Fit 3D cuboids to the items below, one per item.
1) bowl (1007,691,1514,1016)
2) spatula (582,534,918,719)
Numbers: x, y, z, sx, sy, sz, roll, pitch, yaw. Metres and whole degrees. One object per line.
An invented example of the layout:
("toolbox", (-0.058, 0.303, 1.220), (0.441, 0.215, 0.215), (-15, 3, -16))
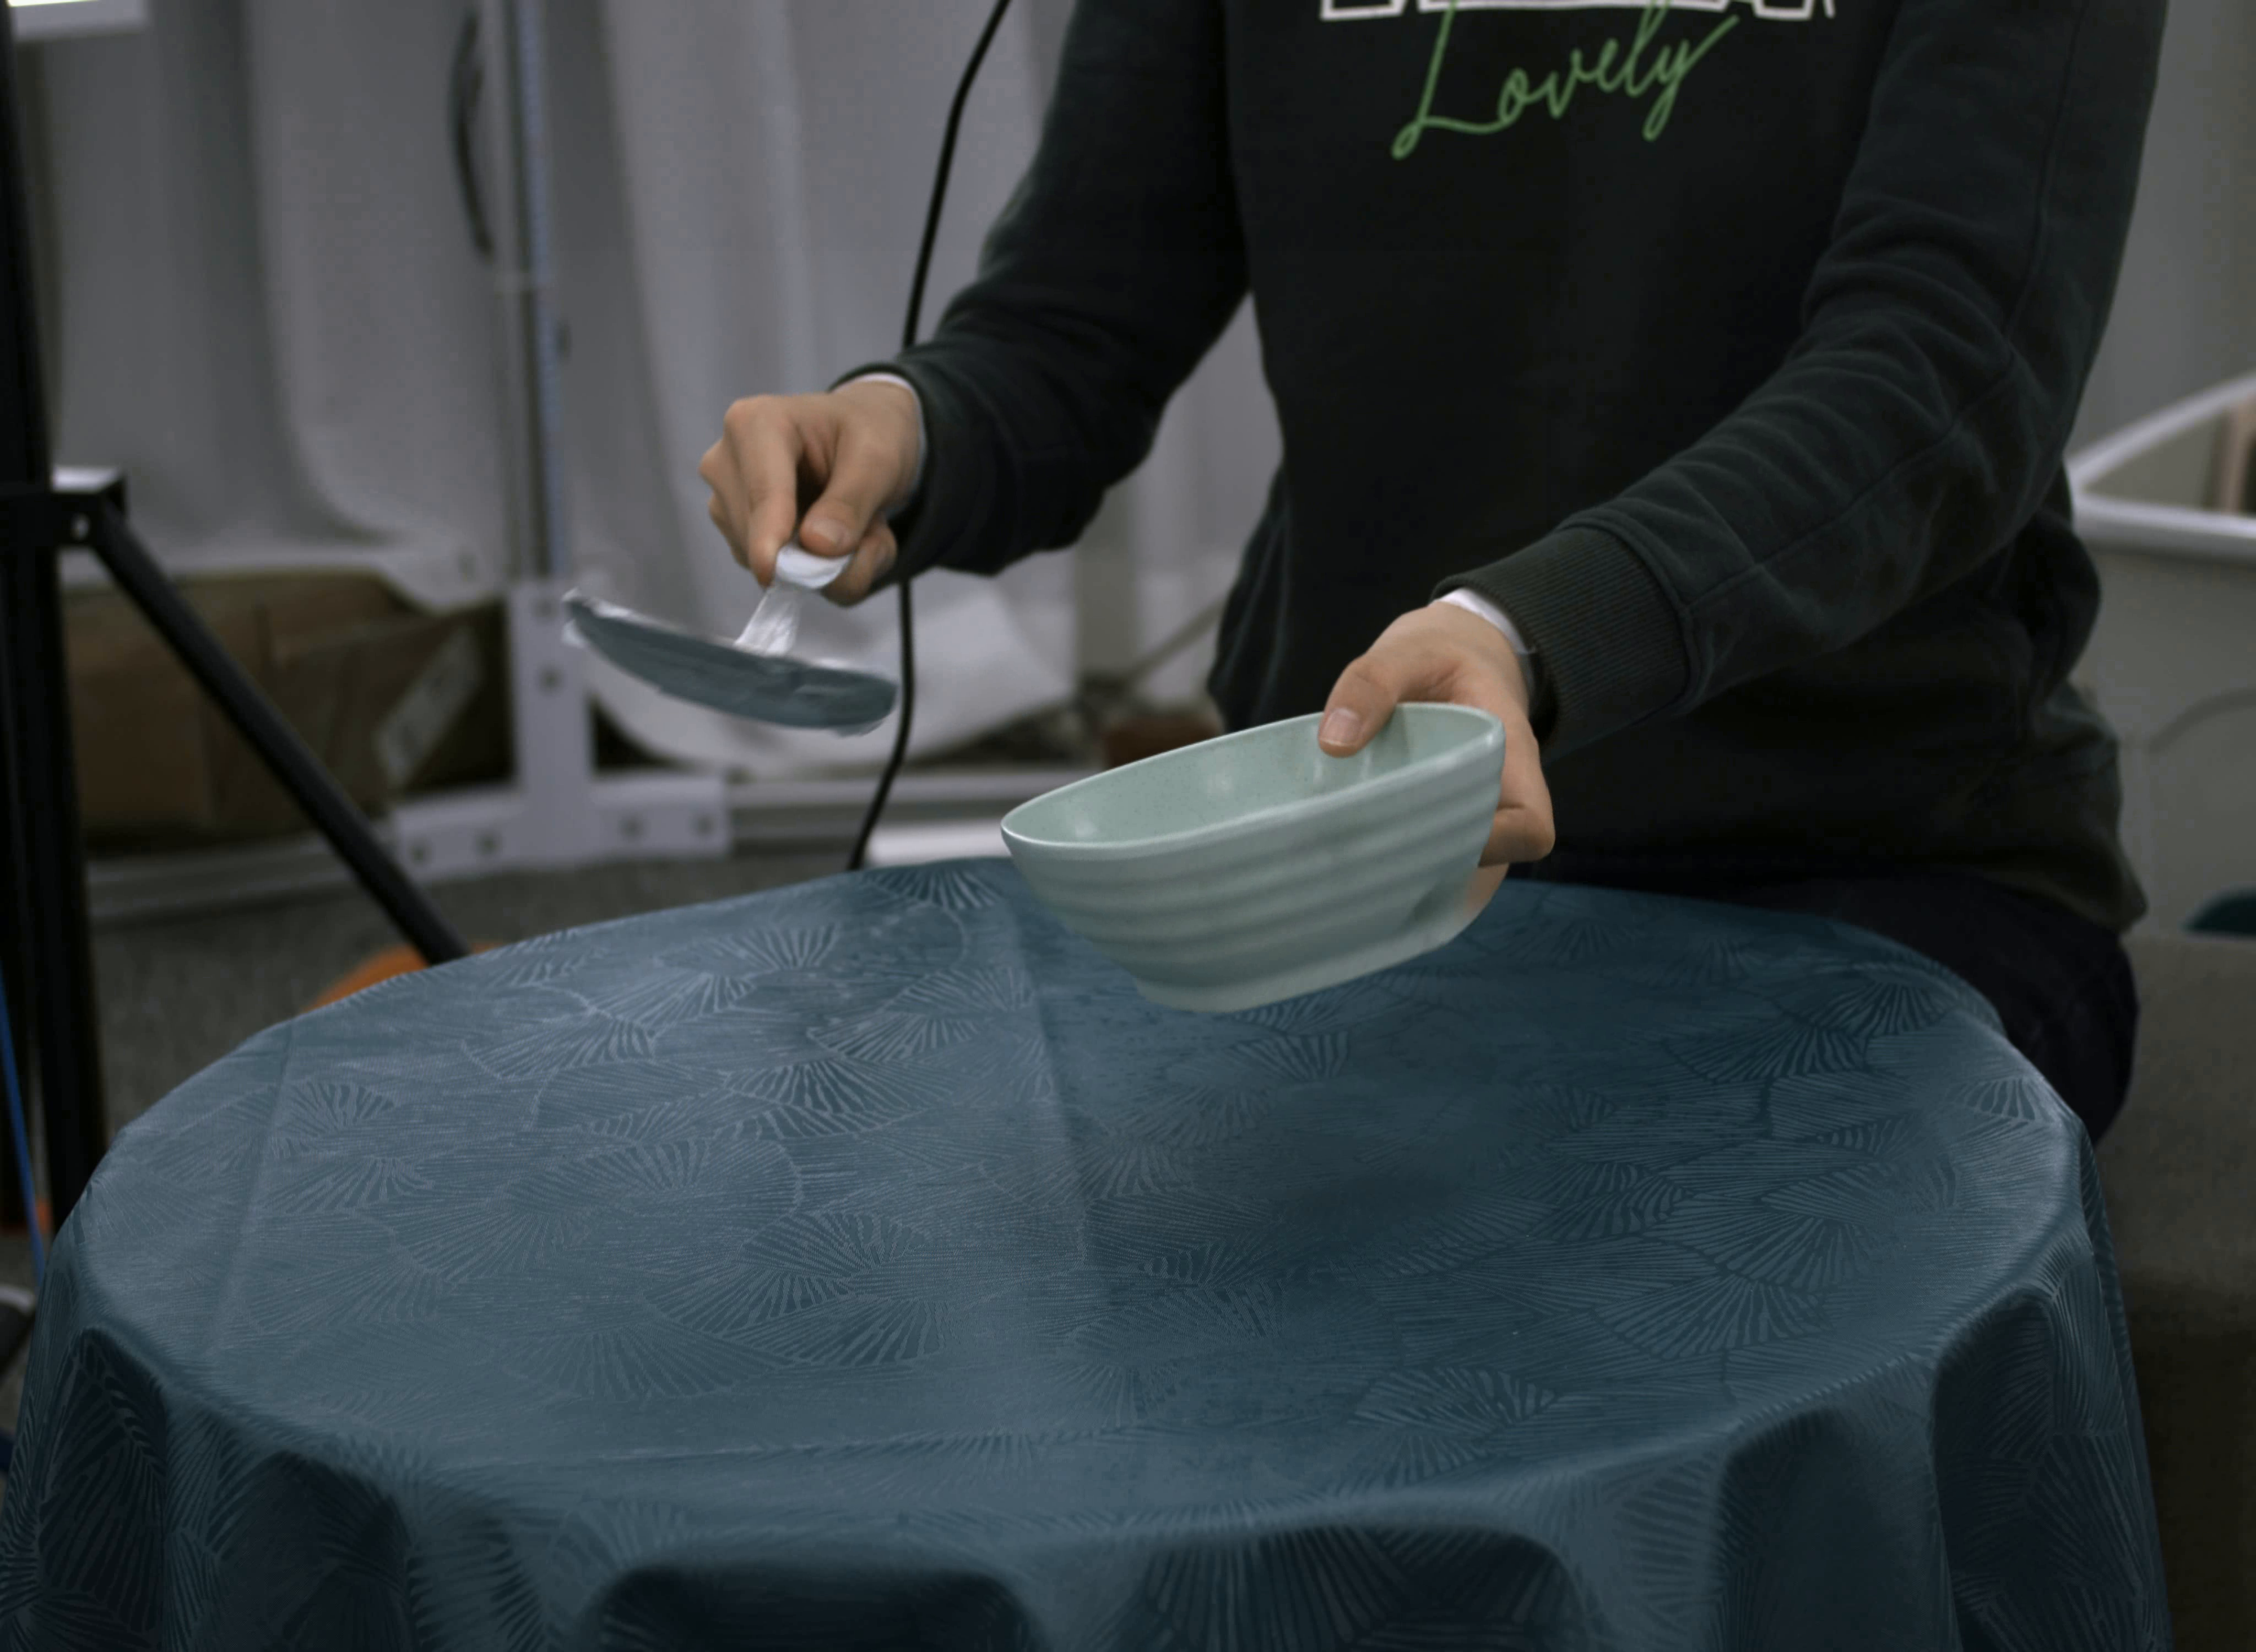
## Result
("bowl", (0.043, 0.011, 1.503), (0.151, 0.058, 0.152), (-15, 12, 2))
("spatula", (-0.099, -0.074, 1.657), (0.098, 0.045, 0.364), (12, 13, 1))
